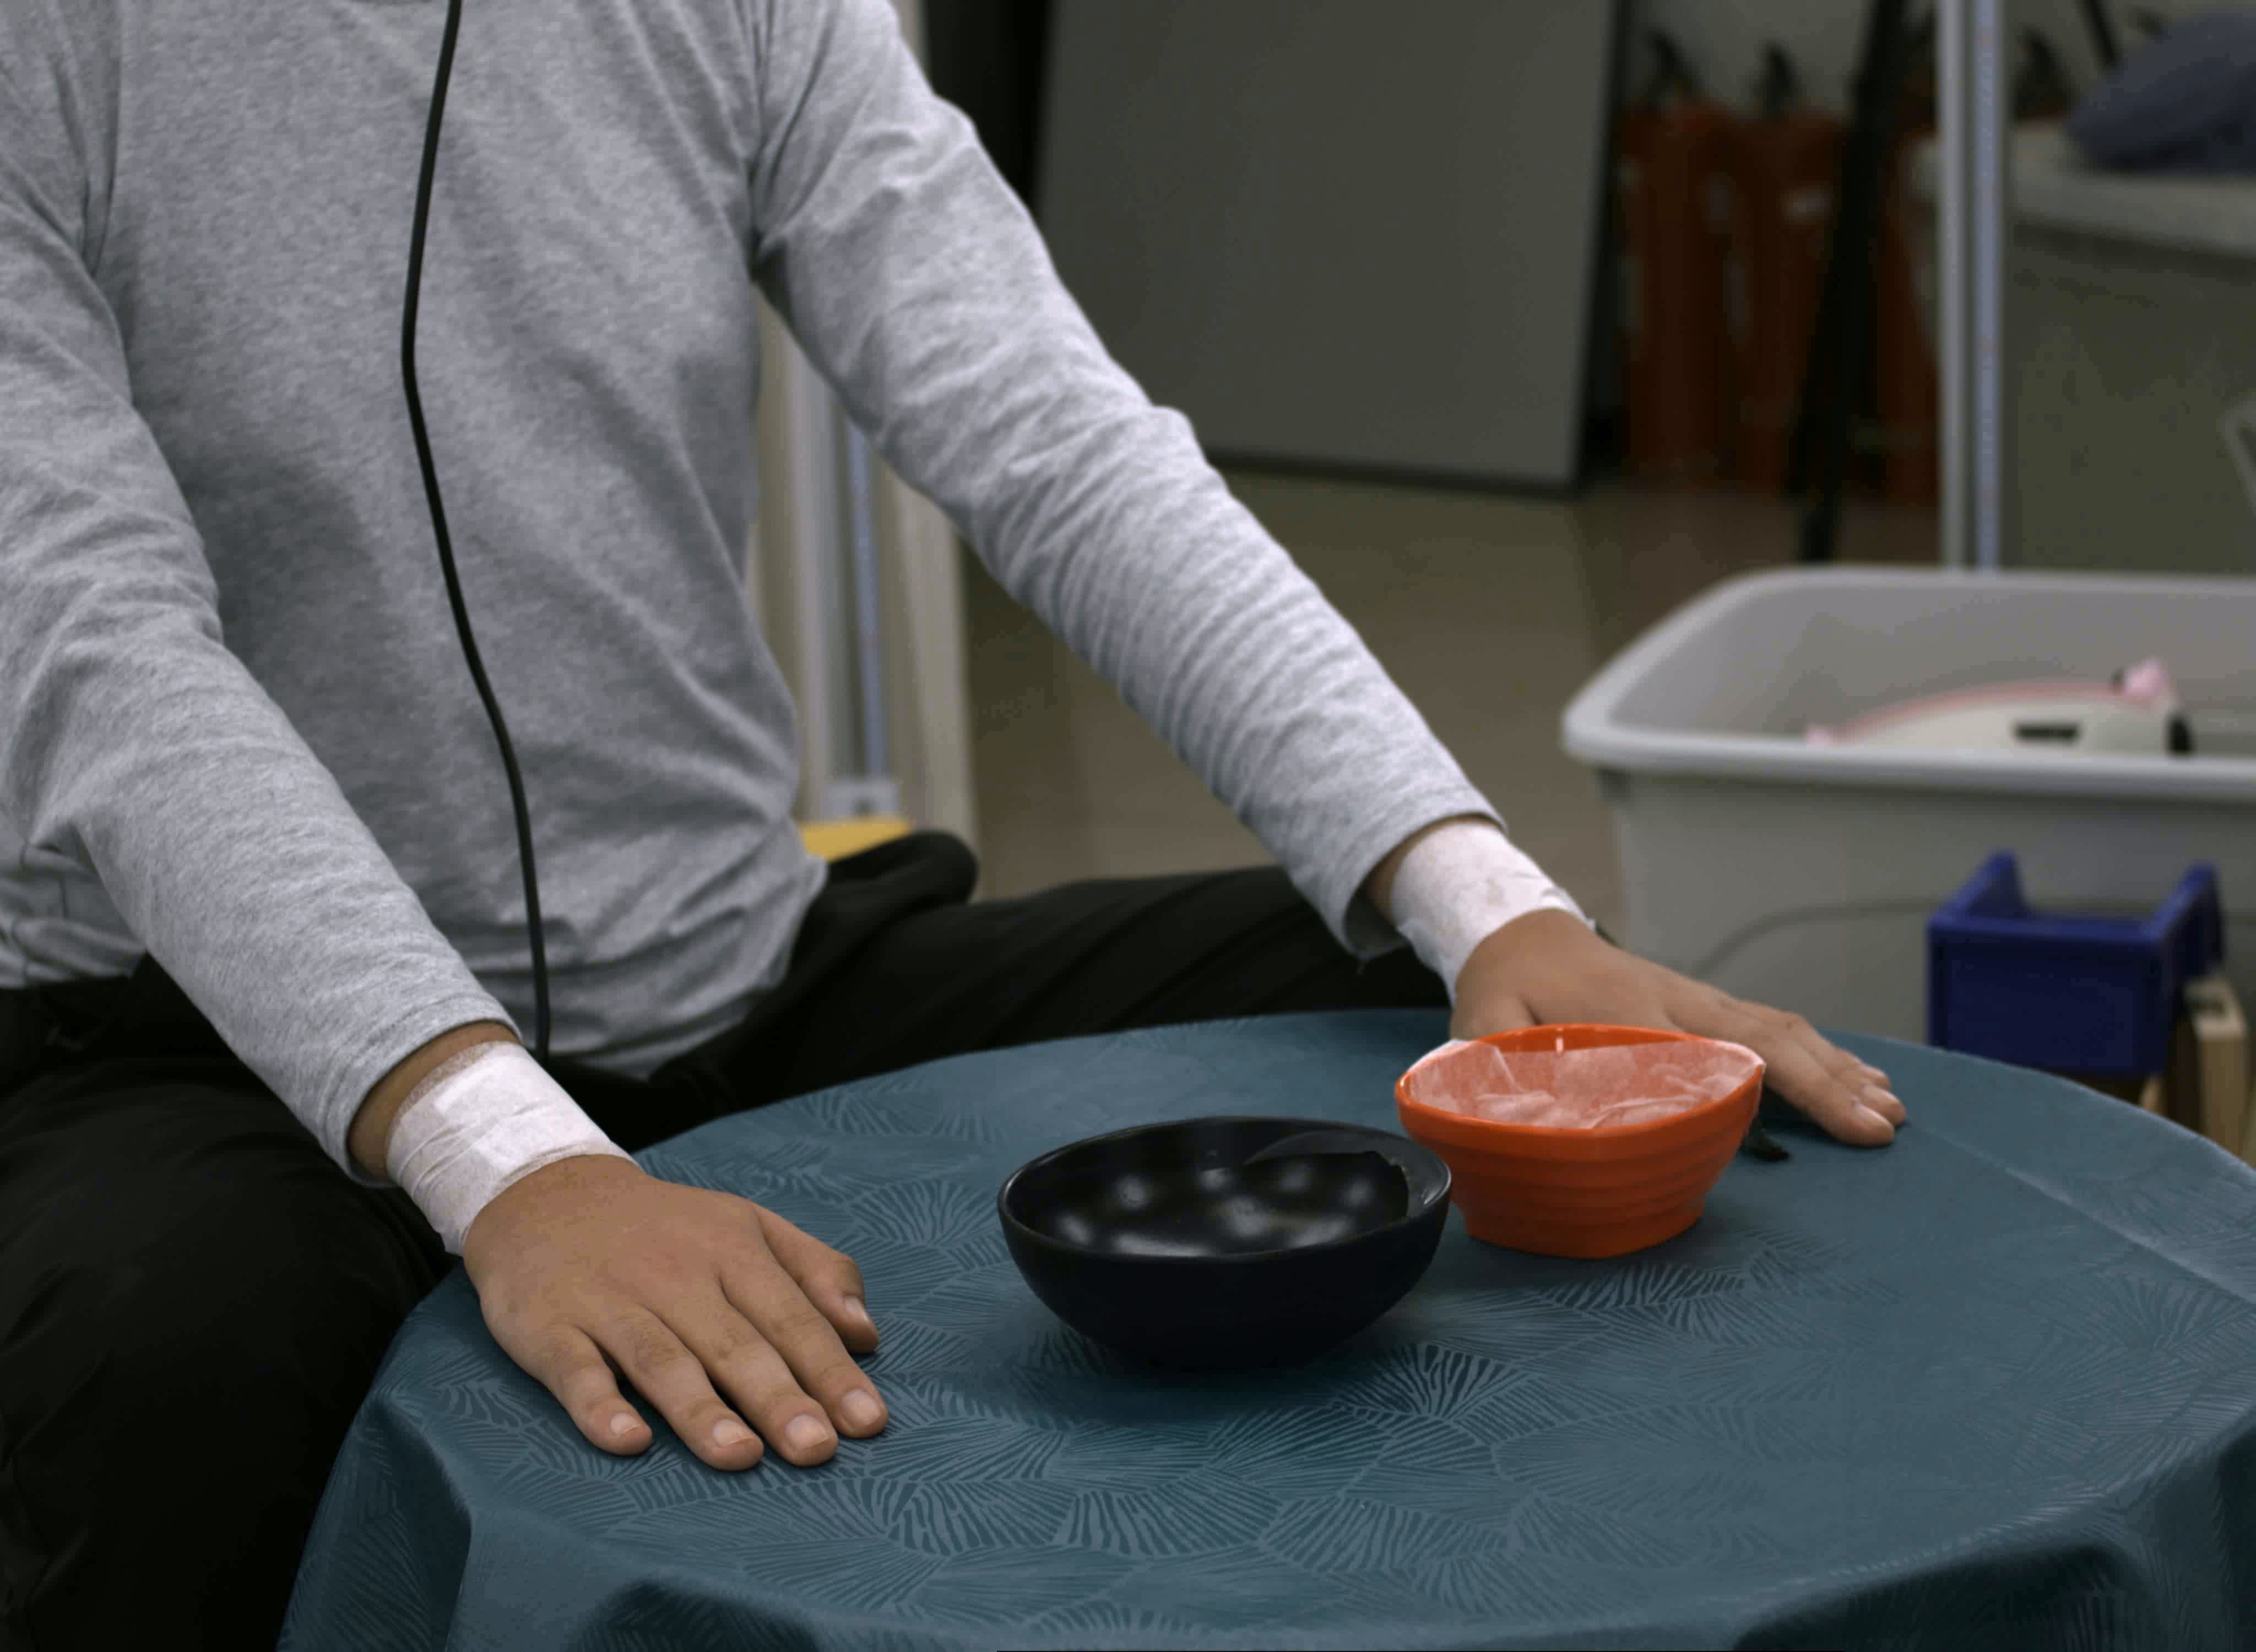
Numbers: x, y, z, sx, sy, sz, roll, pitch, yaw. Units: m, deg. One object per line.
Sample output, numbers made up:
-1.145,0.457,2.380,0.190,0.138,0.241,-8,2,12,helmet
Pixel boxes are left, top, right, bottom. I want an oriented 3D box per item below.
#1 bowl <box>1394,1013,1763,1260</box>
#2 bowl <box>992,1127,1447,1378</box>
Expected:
0.143,0.100,1.705,0.117,0.052,0.119,-4,16,0,bowl
0.029,0.132,1.623,0.138,0.050,0.140,-5,11,0,bowl
